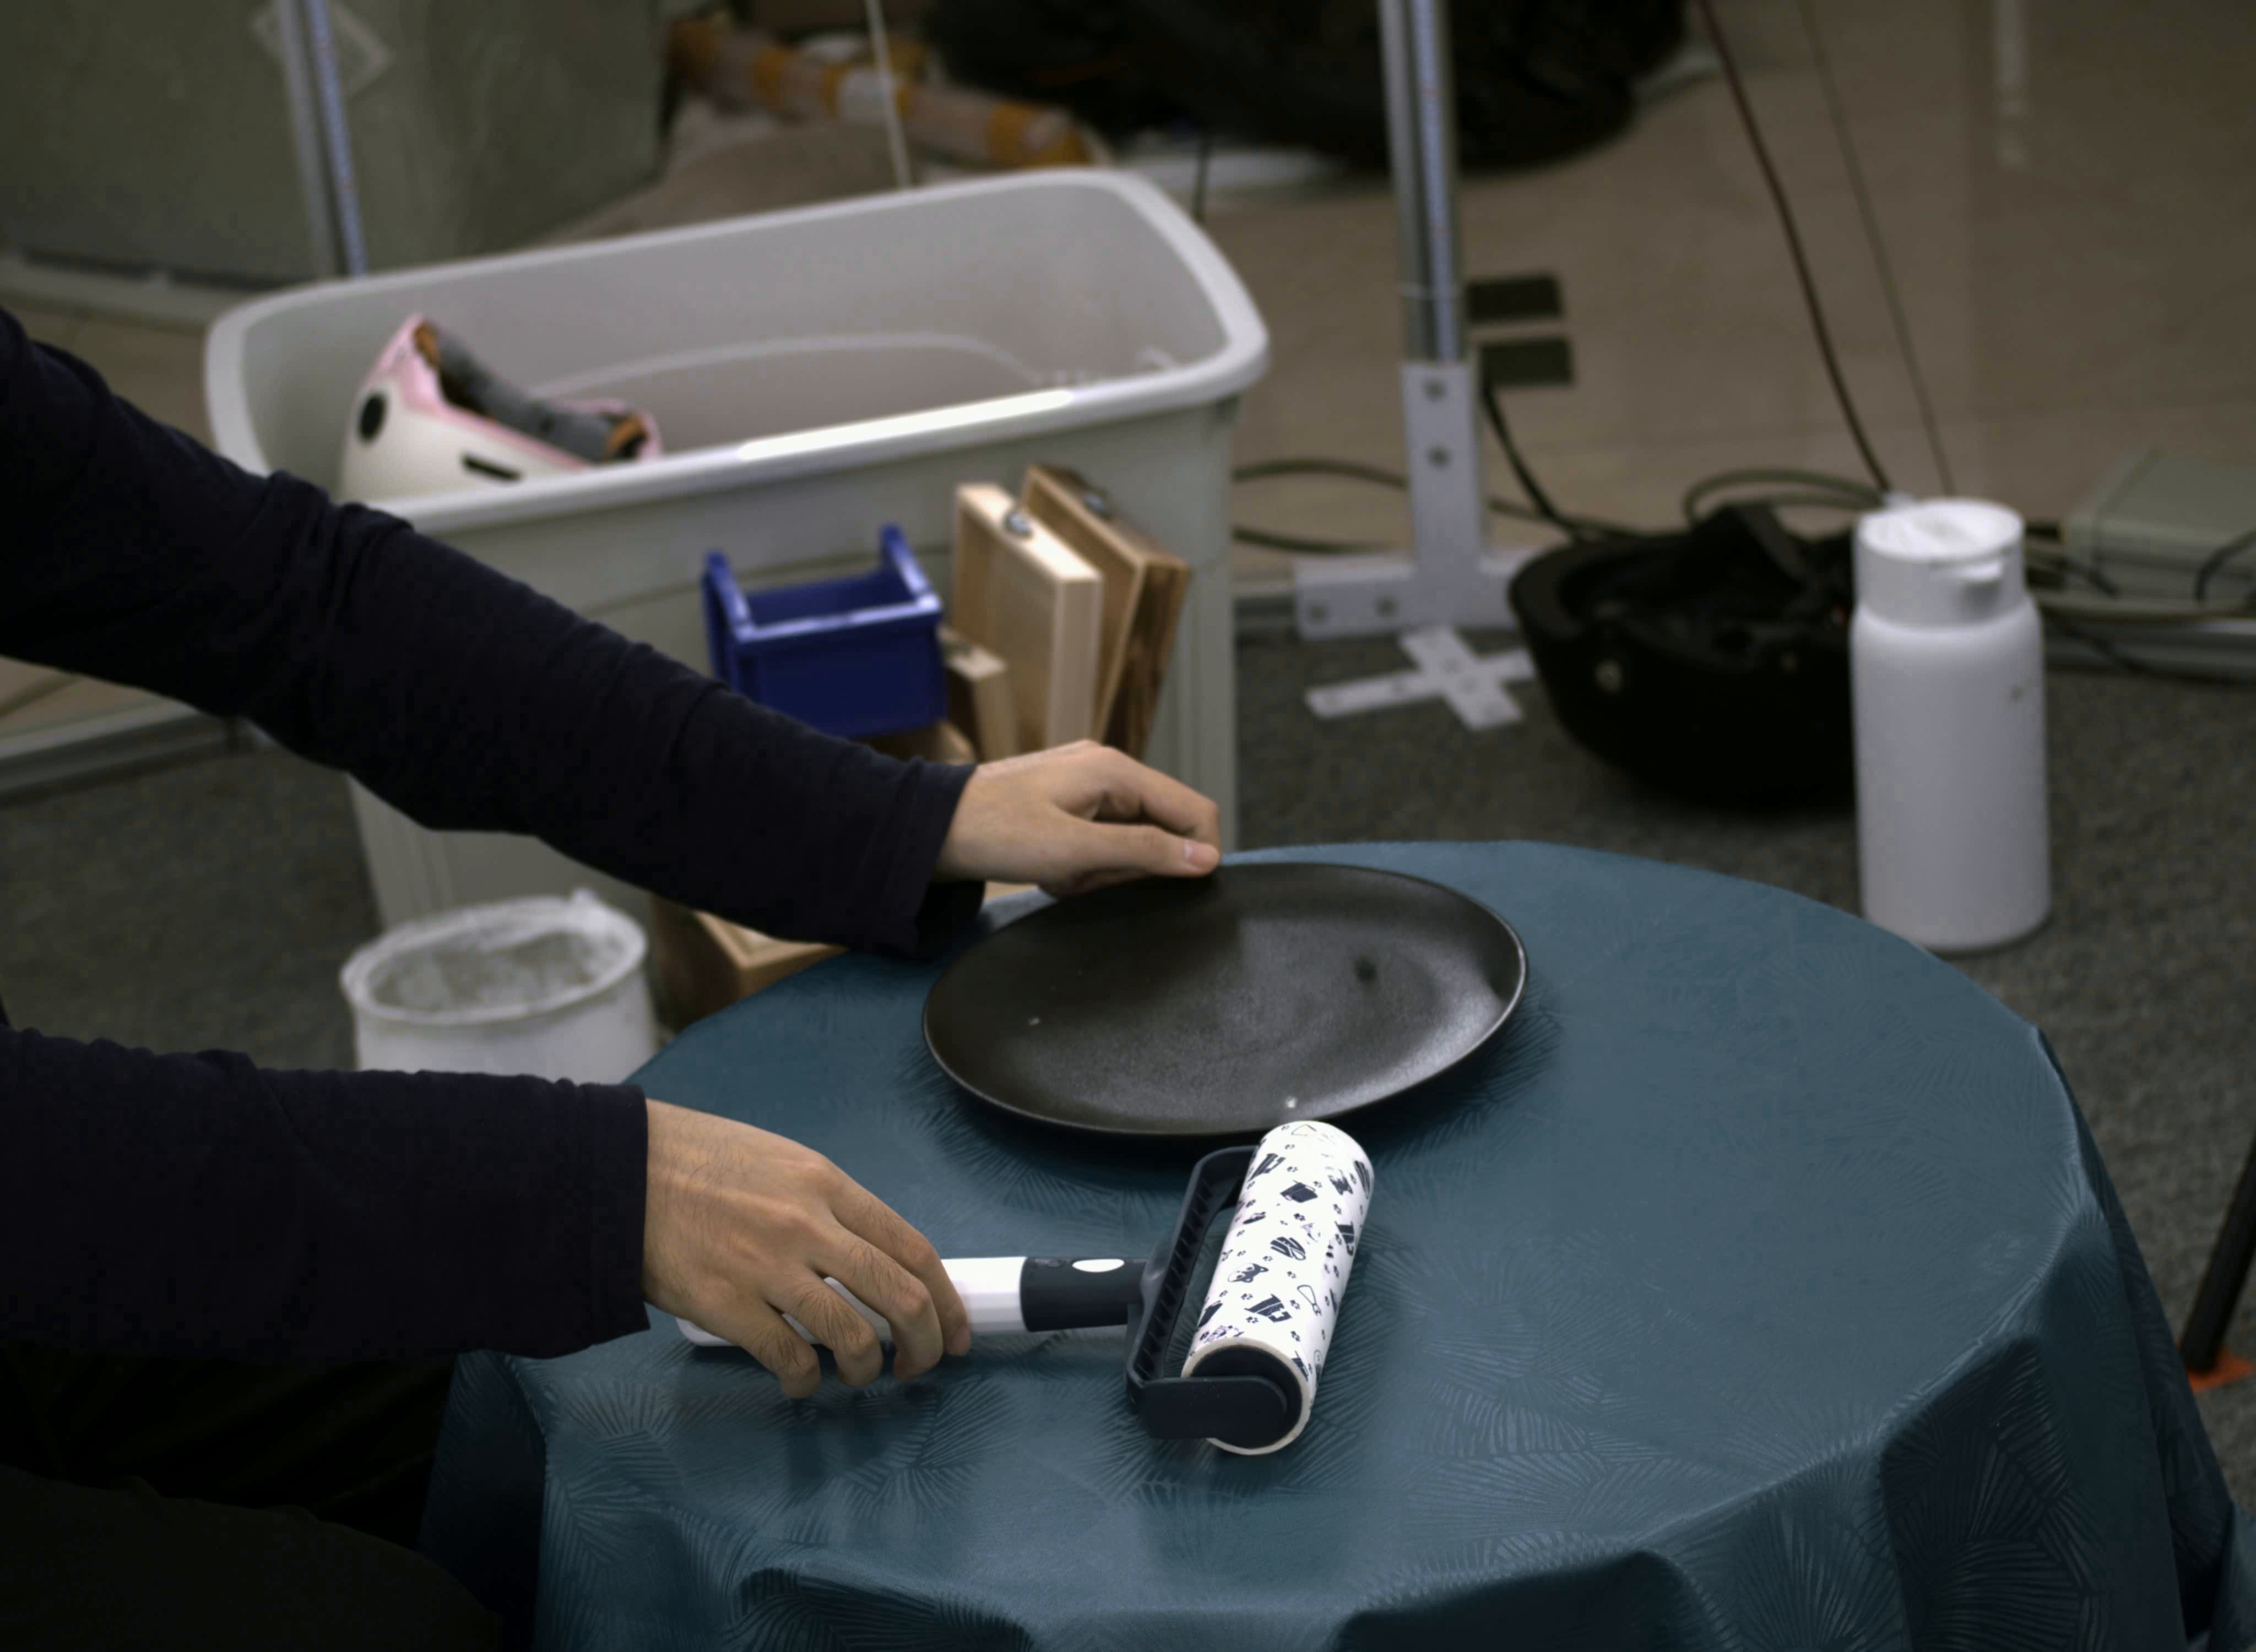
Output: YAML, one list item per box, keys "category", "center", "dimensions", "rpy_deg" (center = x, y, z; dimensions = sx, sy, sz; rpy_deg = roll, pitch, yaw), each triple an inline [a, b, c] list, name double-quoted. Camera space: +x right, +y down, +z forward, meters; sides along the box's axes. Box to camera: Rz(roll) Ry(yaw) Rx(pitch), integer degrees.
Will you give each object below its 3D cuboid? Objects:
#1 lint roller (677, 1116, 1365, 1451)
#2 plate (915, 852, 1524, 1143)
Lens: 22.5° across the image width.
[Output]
- category: "lint roller"
  center: [-0.046, 0.169, 2.049]
  dimensions: [0.247, 0.051, 0.173]
  rpy_deg: [-4, 26, 12]
- category: "plate"
  center: [0.037, 0.073, 2.253]
  dimensions: [0.244, 0.024, 0.240]
  rpy_deg: [-5, 26, 2]
